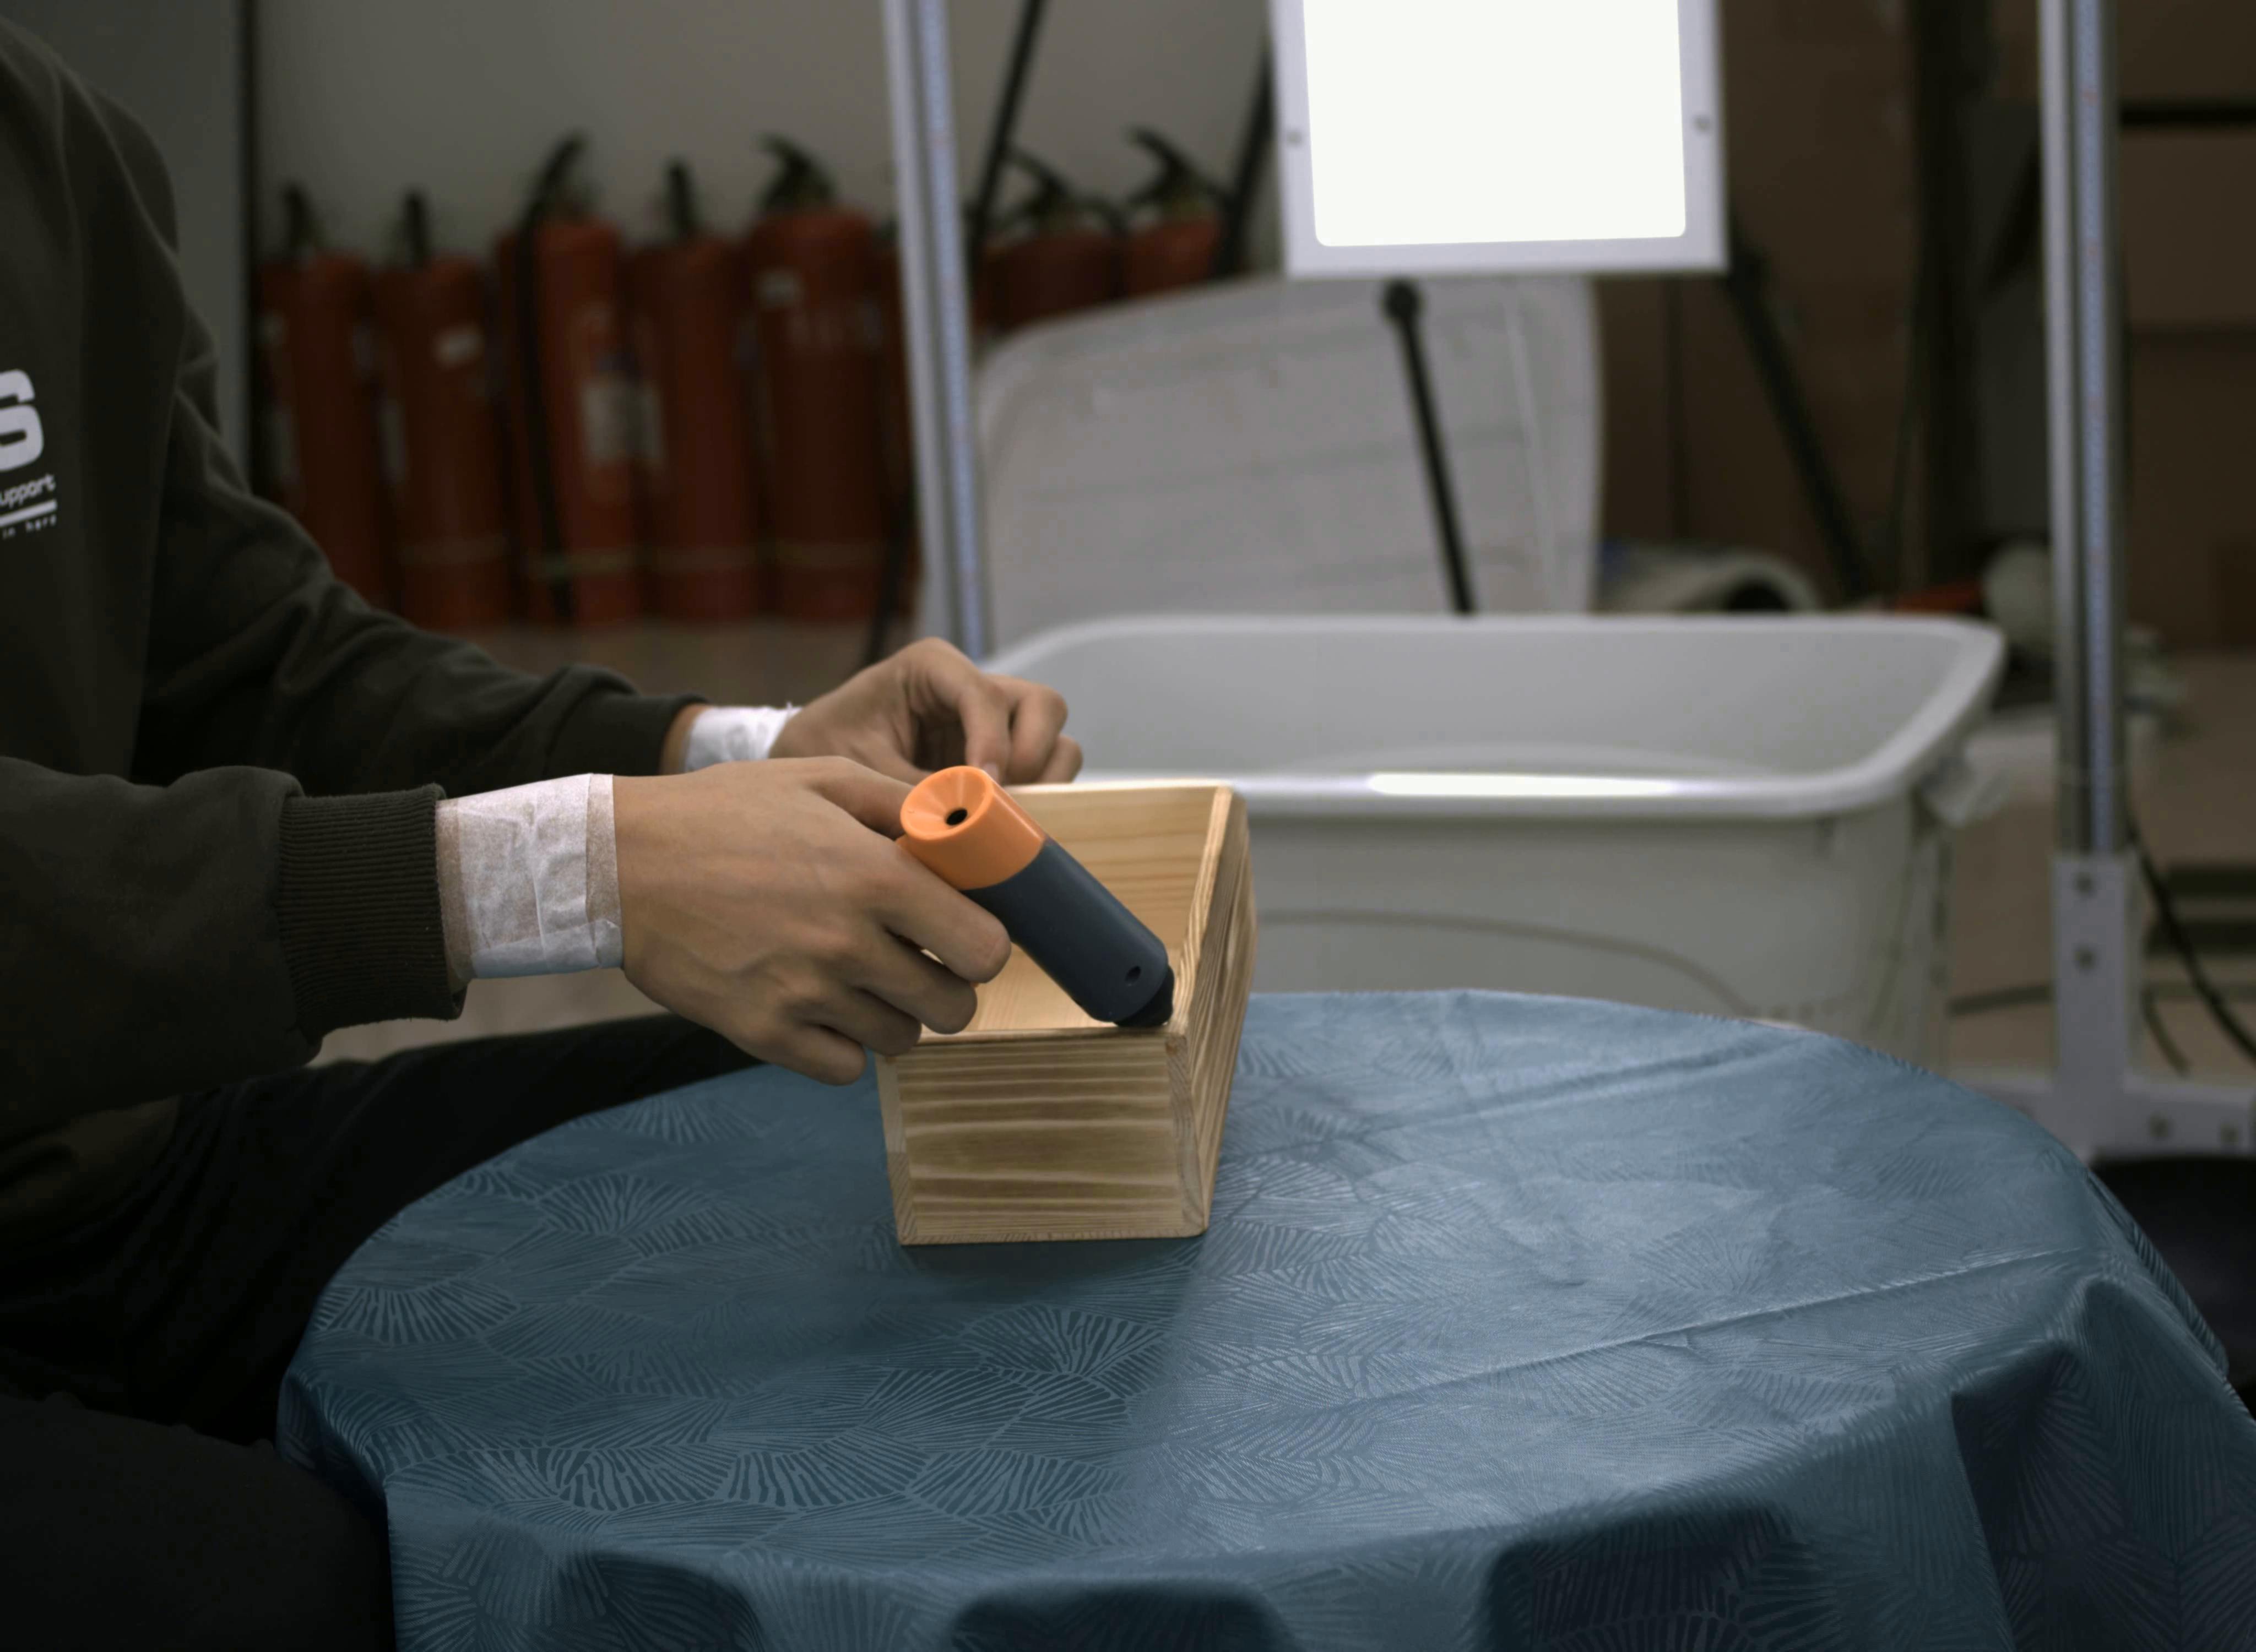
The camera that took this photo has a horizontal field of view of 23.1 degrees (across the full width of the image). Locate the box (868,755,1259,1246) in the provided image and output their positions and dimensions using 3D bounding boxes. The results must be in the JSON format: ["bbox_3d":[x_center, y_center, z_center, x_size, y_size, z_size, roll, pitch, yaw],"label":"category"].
[{"bbox_3d":[-0.019,0.059,1.930,0.108,0.080,0.209,-4,26,9],"label":"box"}]

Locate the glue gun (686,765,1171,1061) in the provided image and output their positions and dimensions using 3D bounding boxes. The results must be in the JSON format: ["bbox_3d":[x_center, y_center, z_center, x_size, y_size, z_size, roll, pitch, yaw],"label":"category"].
[{"bbox_3d":[-0.064,0.037,1.804,0.141,0.117,0.040,-11,42,20],"label":"glue gun"}]
